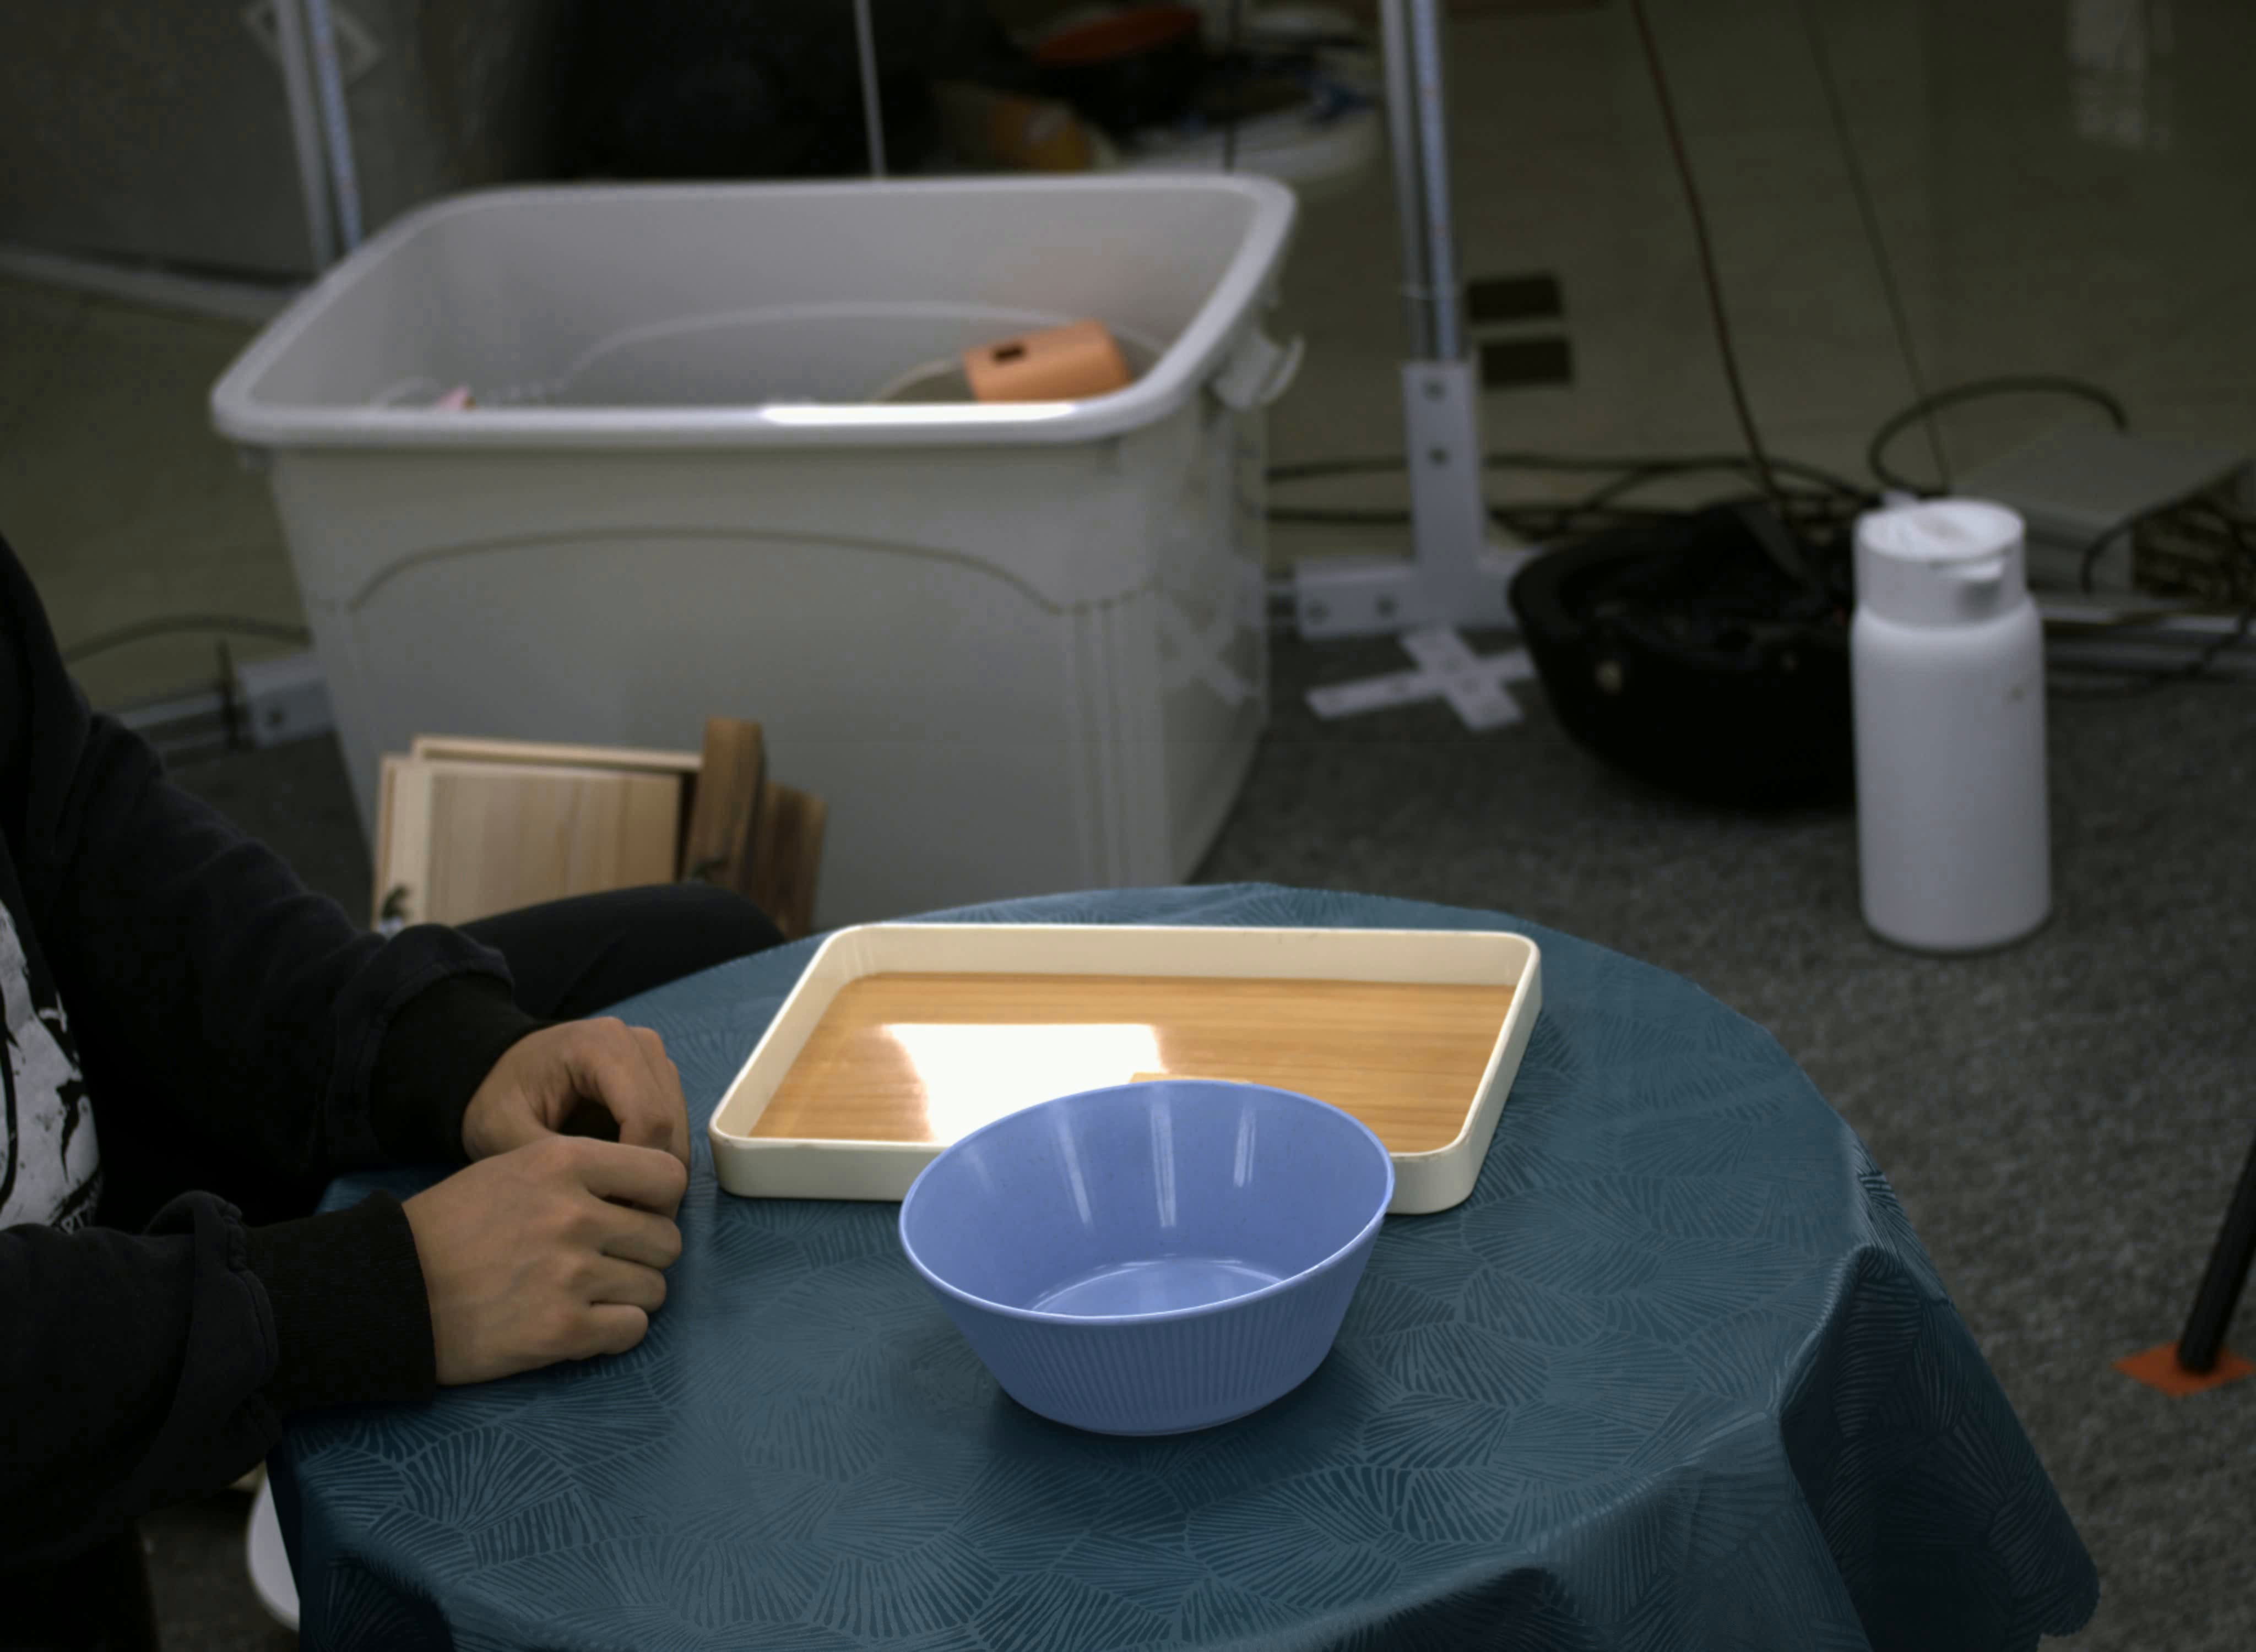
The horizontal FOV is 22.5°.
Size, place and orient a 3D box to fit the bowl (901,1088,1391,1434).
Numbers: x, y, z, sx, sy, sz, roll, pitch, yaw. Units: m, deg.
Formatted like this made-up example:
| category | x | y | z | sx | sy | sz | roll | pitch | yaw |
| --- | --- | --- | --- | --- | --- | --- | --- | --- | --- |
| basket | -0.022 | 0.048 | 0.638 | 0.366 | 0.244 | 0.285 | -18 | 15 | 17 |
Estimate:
| category | x | y | z | sx | sy | sz | roll | pitch | yaw |
| --- | --- | --- | --- | --- | --- | --- | --- | --- | --- |
| bowl | 0.009 | 0.160 | 2.019 | 0.176 | 0.071 | 0.173 | -5 | 24 | 2 |

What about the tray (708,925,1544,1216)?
| category | x | y | z | sx | sy | sz | roll | pitch | yaw |
| --- | --- | --- | --- | --- | --- | --- | --- | --- | --- |
| tray | 0.002 | 0.094 | 2.219 | 0.299 | 0.028 | 0.189 | 1 | 26 | 15 |
